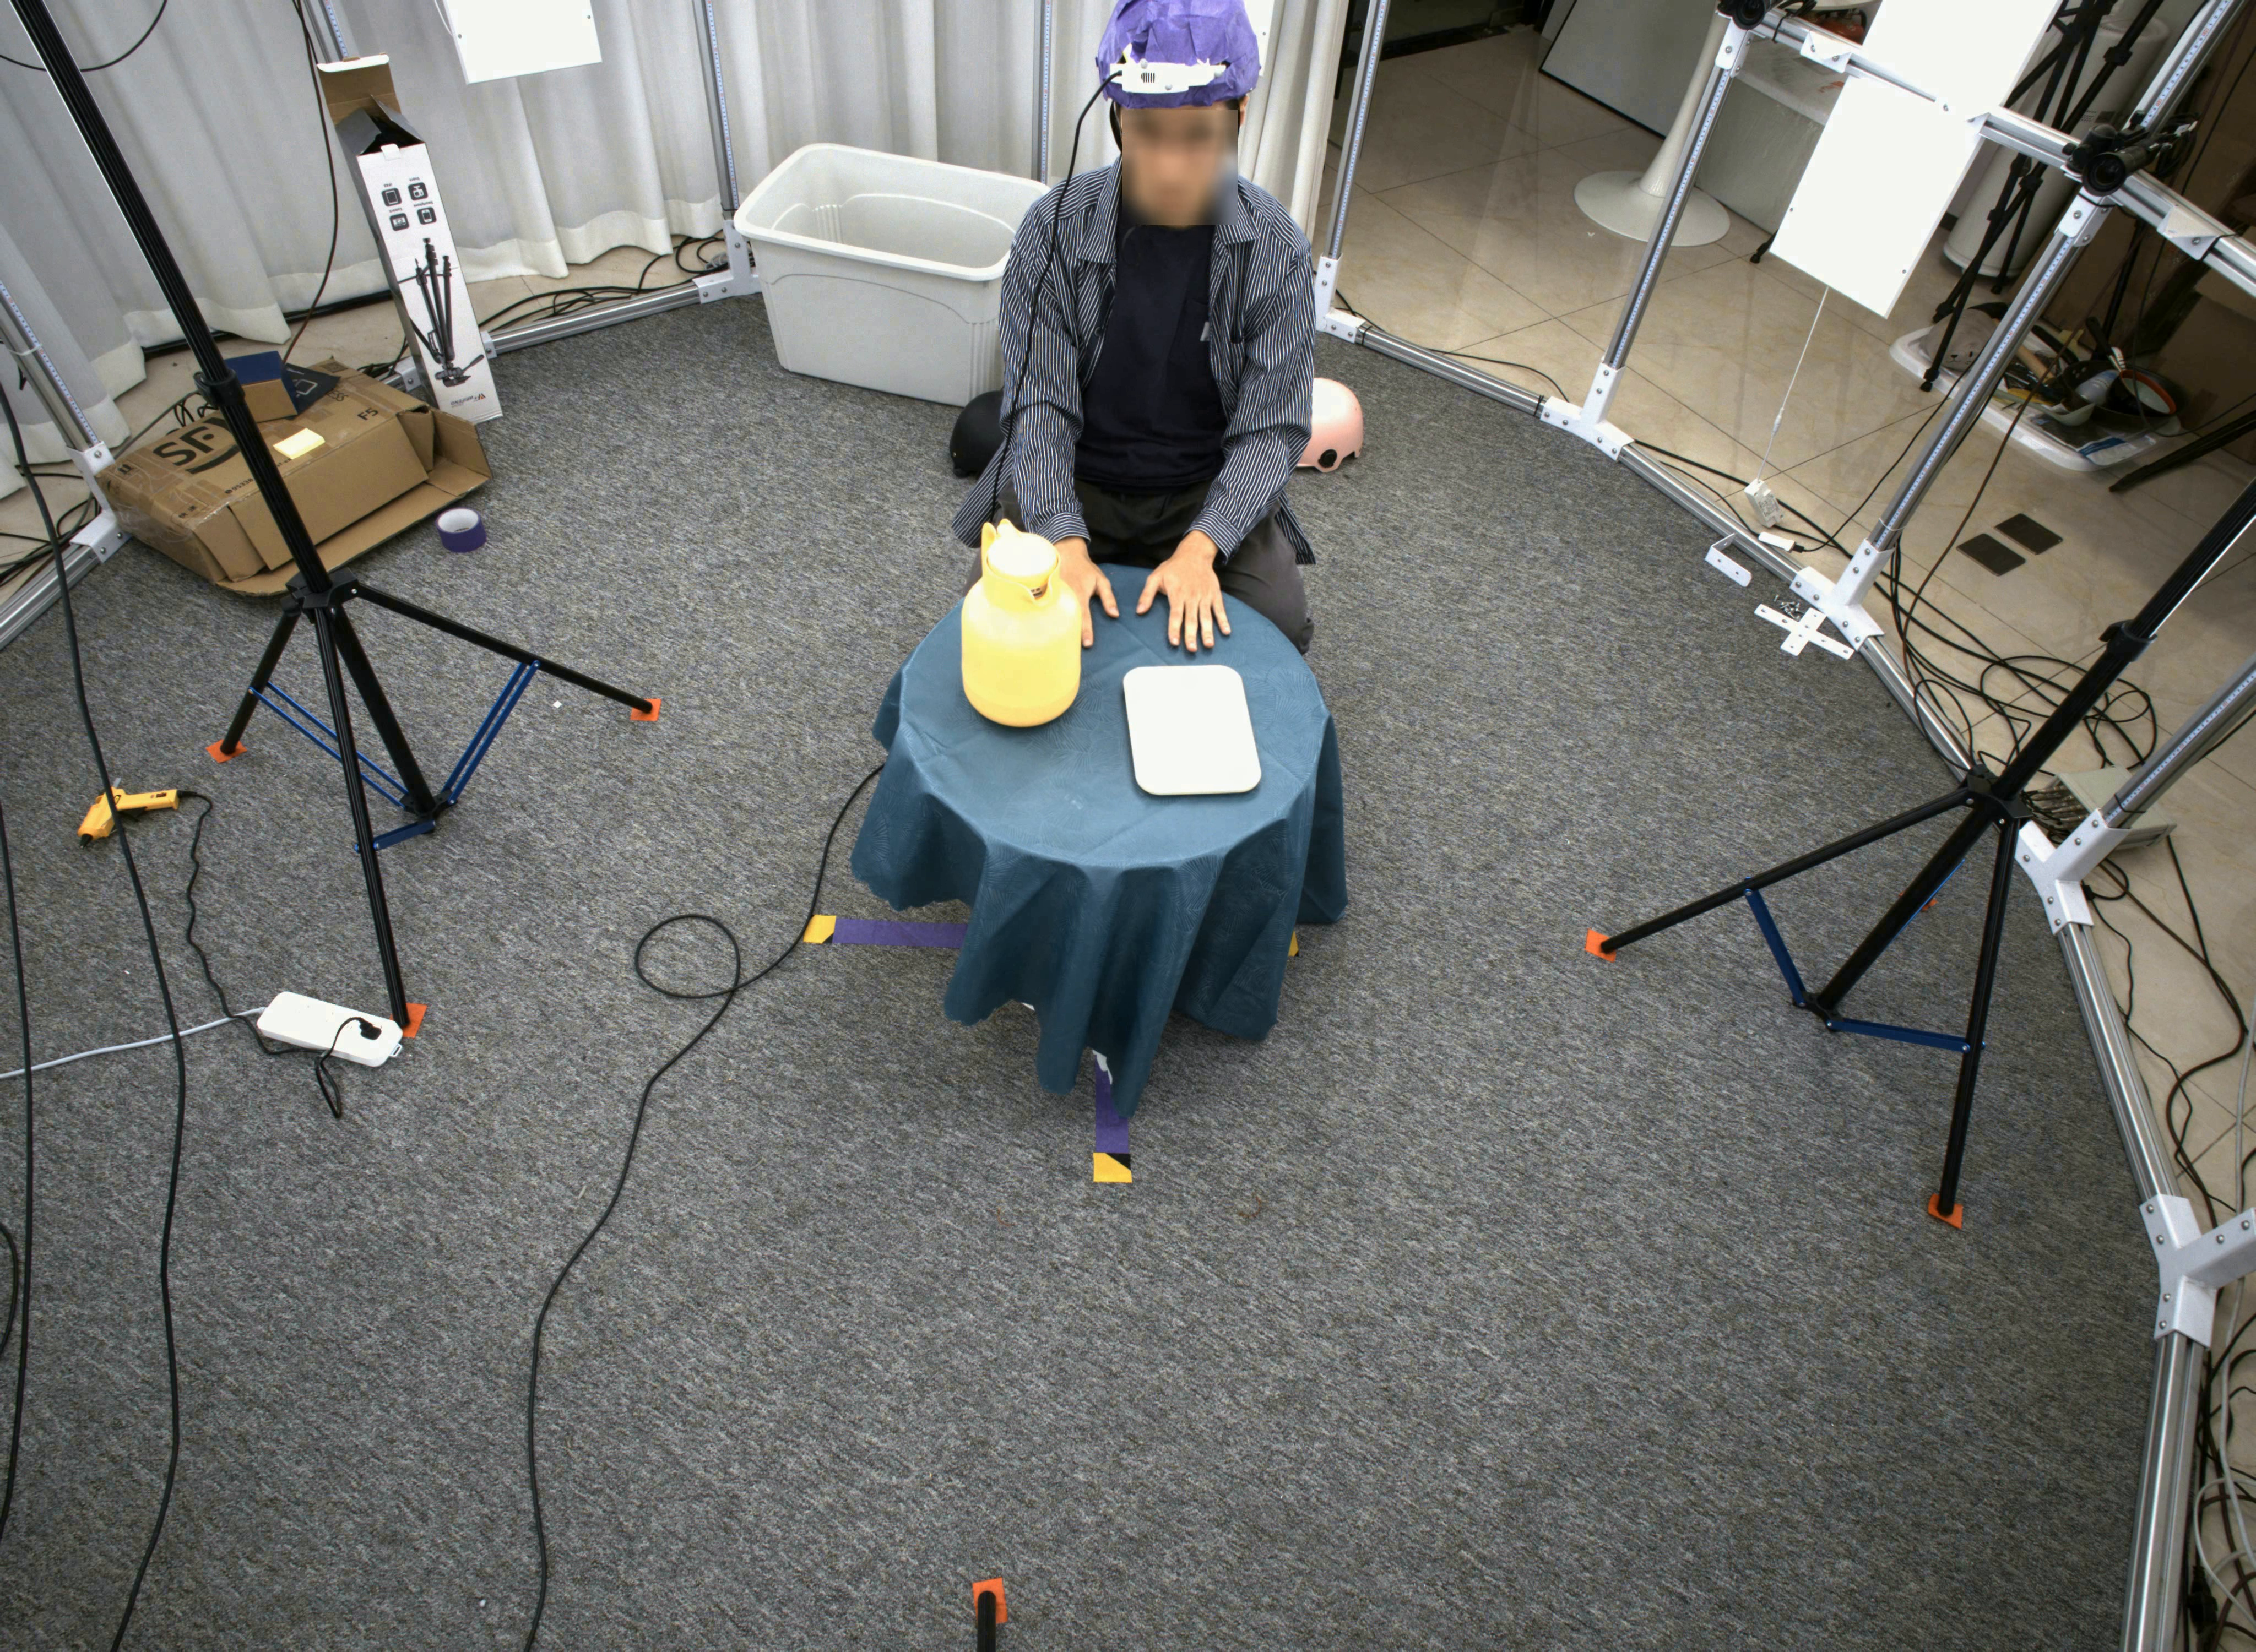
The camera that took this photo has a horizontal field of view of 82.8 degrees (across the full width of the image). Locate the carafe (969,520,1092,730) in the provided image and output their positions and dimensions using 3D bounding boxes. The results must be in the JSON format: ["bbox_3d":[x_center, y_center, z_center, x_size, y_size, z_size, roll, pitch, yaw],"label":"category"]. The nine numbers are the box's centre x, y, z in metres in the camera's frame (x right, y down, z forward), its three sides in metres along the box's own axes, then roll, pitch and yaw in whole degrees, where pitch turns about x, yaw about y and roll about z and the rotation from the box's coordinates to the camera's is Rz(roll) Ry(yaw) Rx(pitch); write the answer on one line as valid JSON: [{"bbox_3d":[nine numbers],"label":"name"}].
[{"bbox_3d":[-0.136,-0.276,1.720,0.164,0.254,0.207,-17,53,-22],"label":"carafe"}]

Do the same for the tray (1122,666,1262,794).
[{"bbox_3d":[0.085,-0.134,1.771,0.171,0.017,0.246,-2,48,-7],"label":"tray"}]
